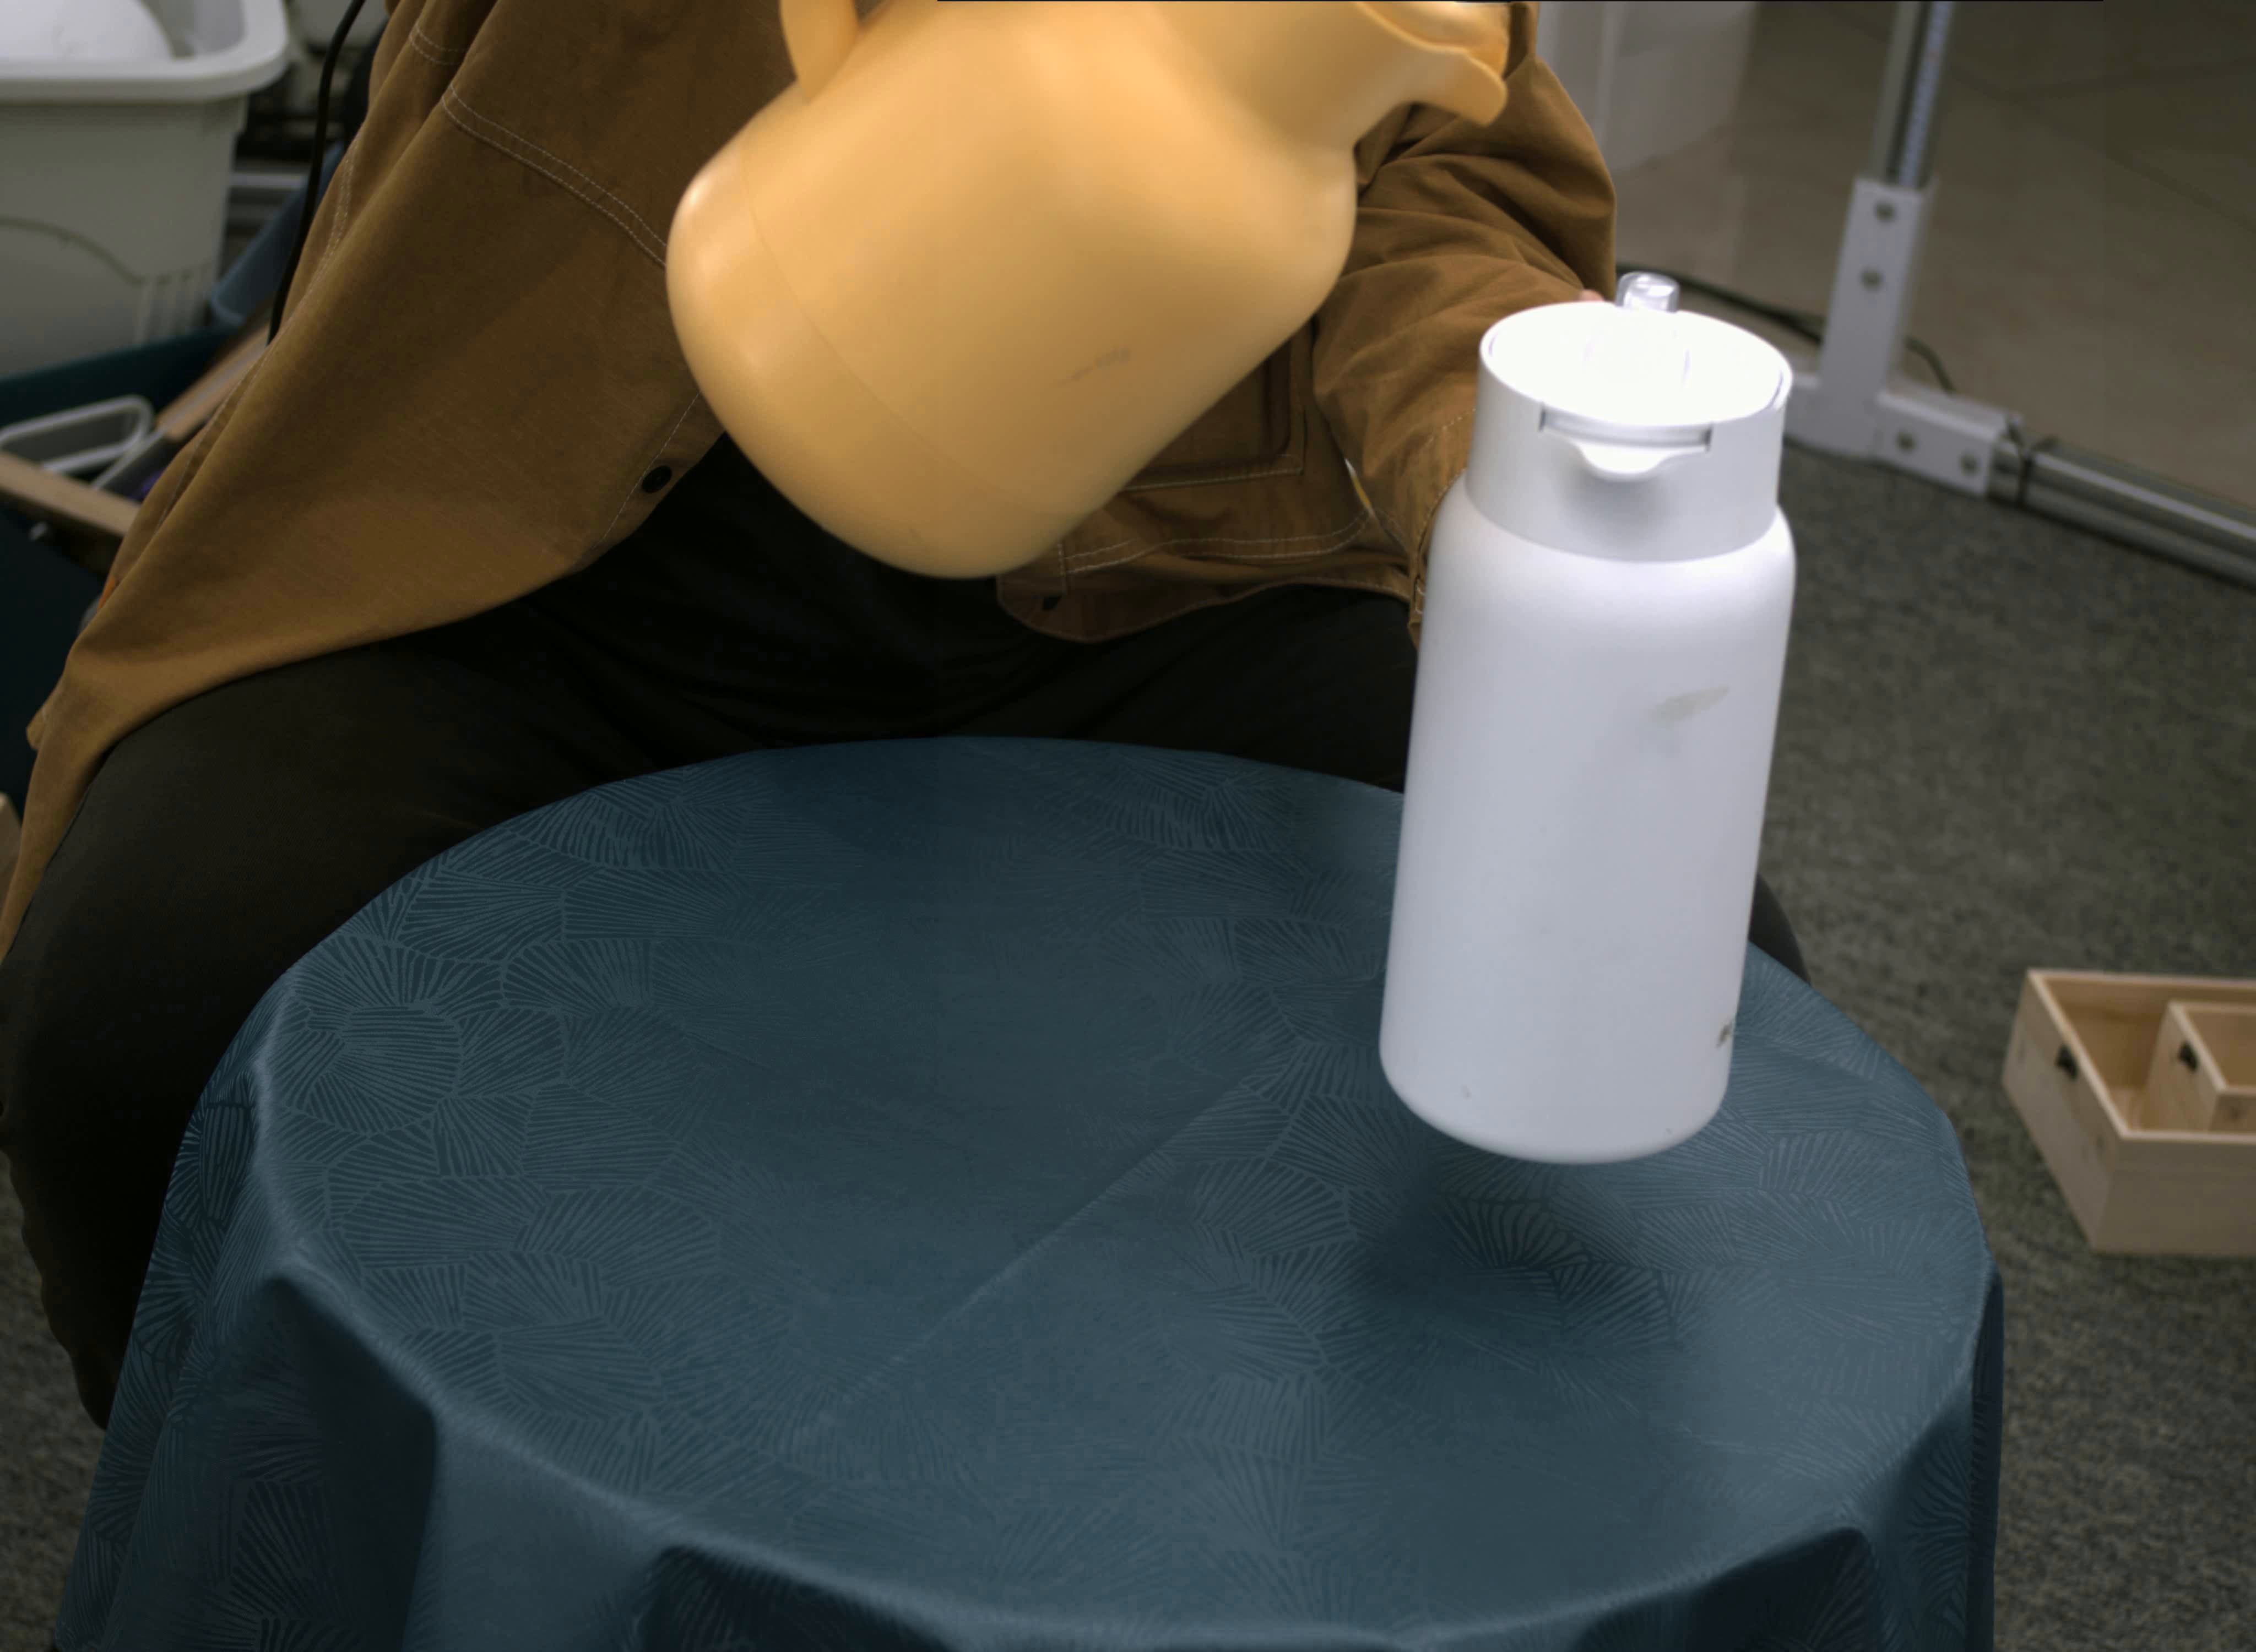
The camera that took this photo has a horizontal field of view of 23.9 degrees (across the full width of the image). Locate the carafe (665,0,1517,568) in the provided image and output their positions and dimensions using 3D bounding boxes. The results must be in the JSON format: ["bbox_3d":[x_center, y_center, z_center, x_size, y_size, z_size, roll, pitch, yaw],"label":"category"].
[{"bbox_3d":[-0.023,-0.220,1.631,0.201,0.260,0.164,43,24,-20],"label":"carafe"}]

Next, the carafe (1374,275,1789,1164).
[{"bbox_3d":[0.149,-0.038,1.737,0.124,0.268,0.173,5,27,7],"label":"carafe"}]
